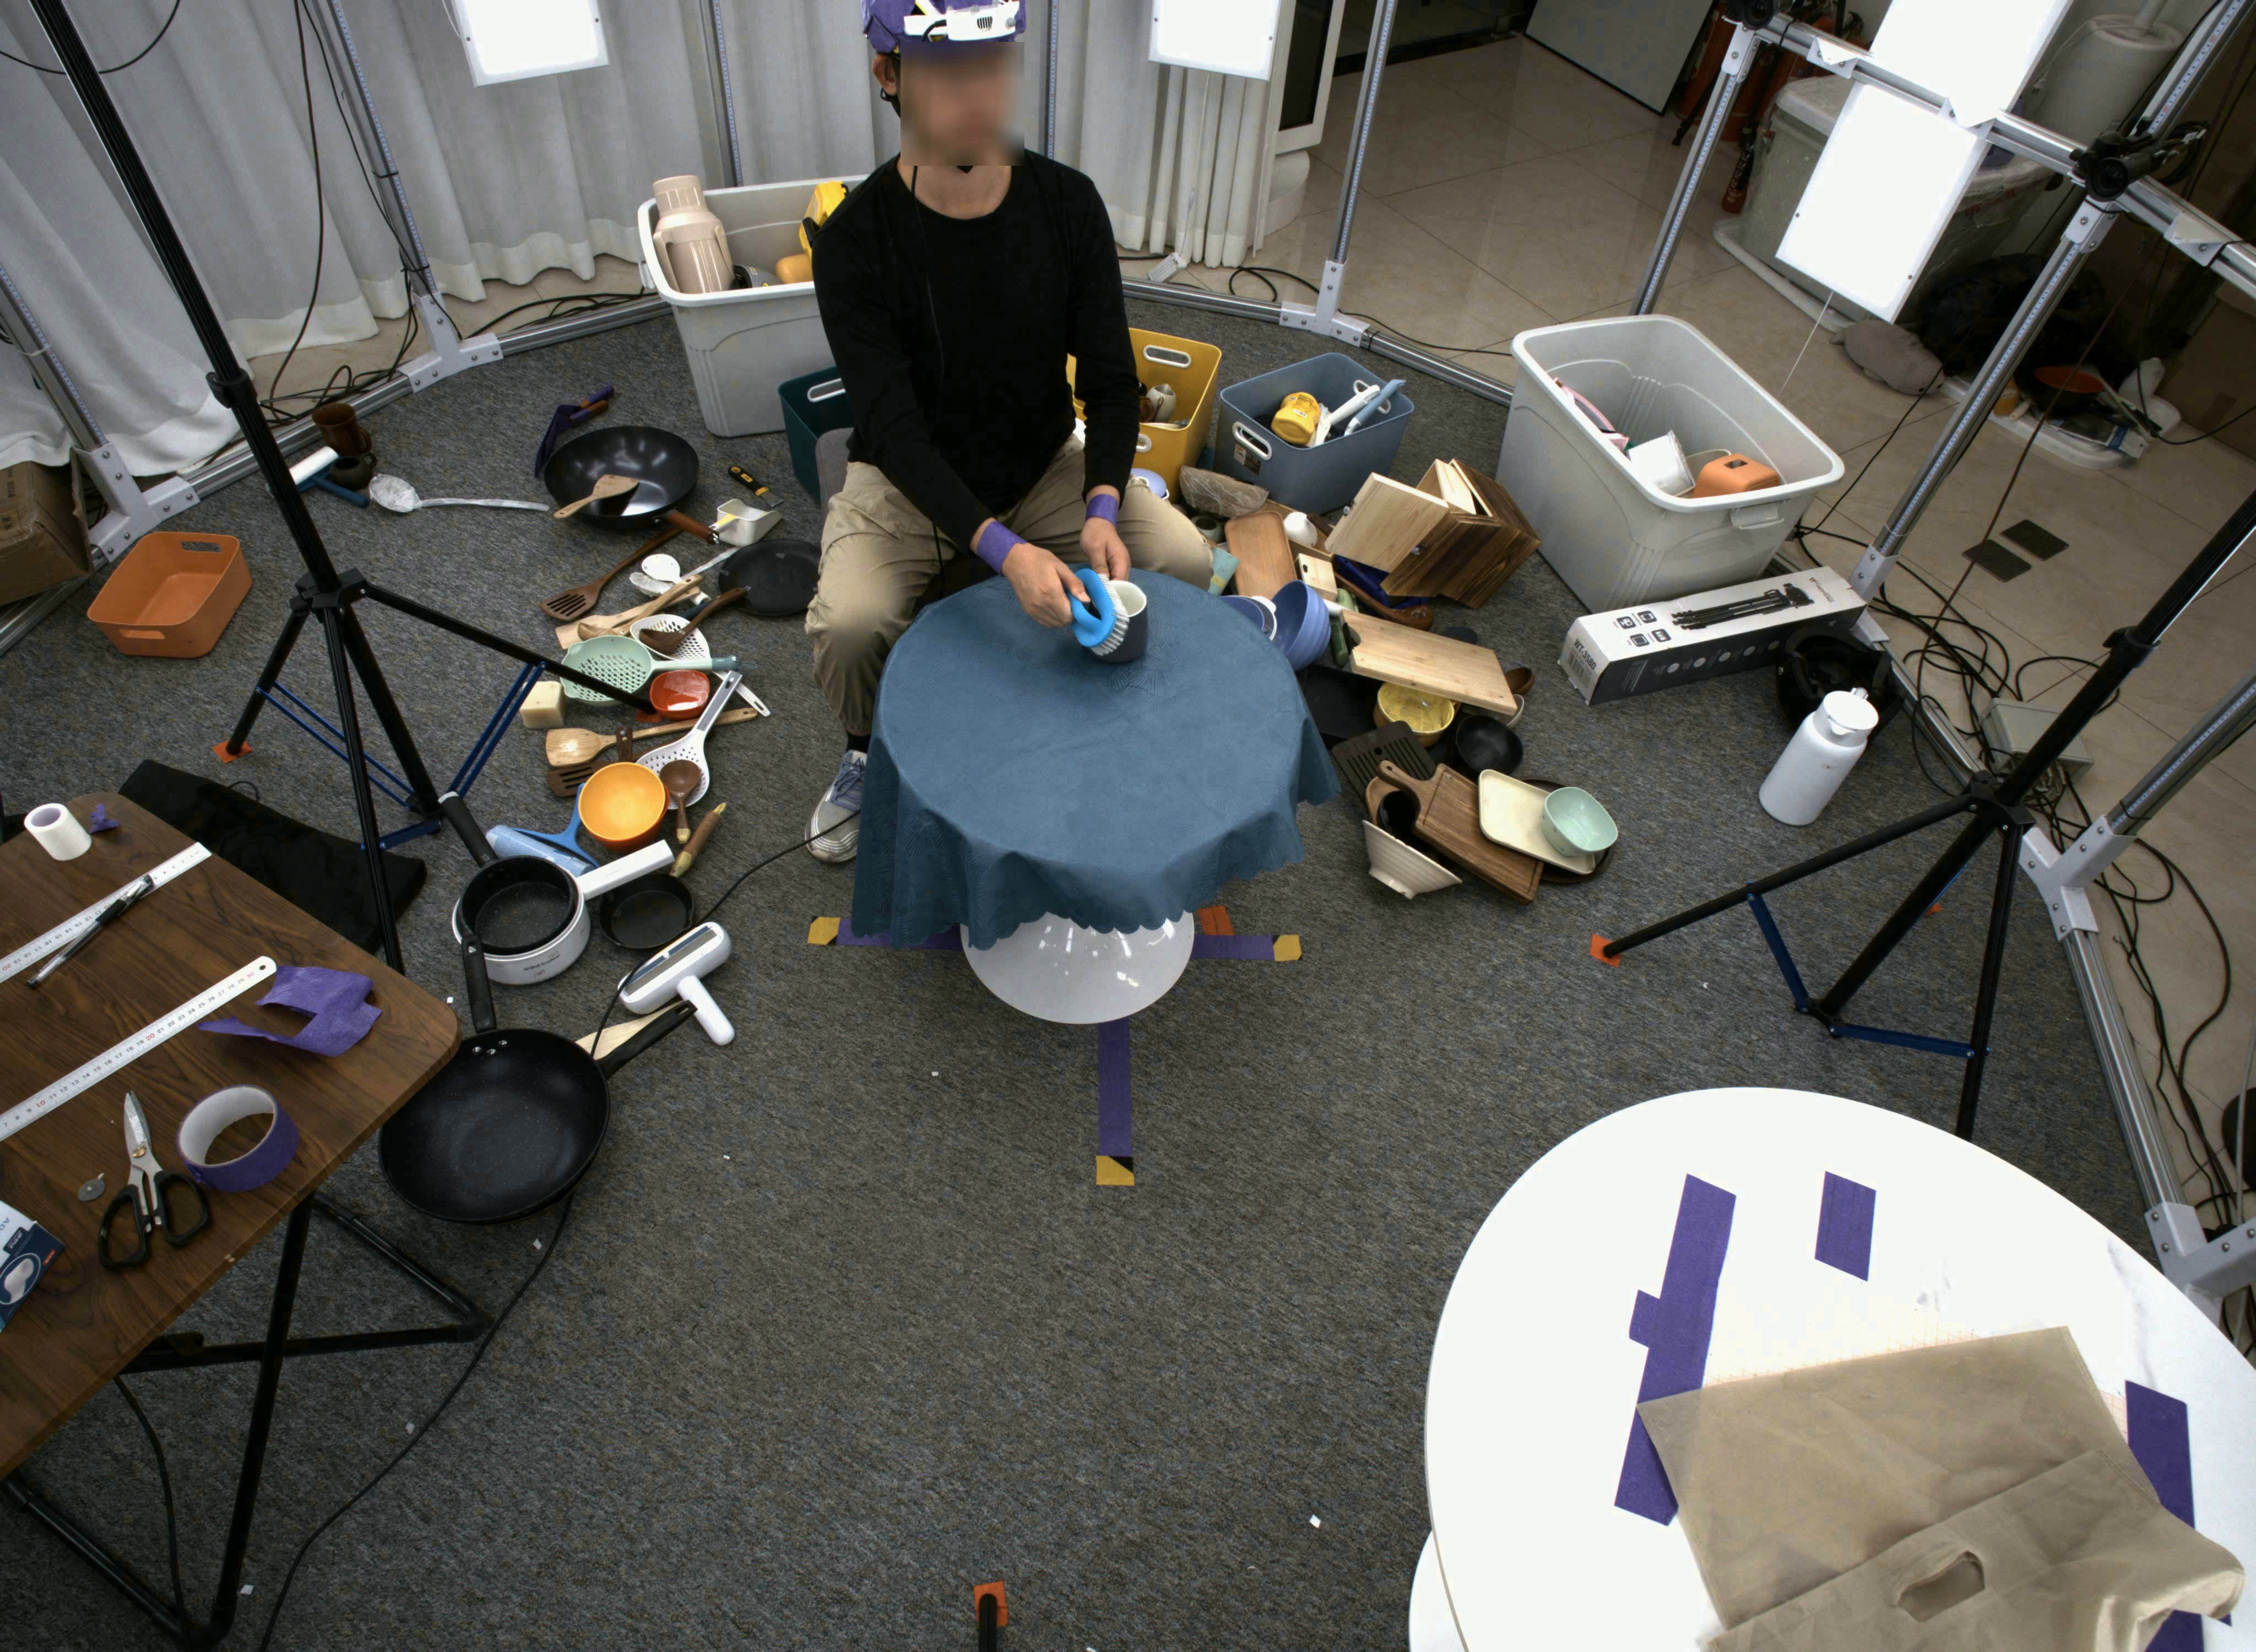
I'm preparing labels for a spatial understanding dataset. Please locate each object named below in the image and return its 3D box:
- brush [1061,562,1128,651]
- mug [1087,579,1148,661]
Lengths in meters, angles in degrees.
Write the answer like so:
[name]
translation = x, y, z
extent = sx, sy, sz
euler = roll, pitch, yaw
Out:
[brush]
translation = -0.057, -0.312, 1.811
extent = 0.063, 0.083, 0.145
euler = 17, 38, -41
[mug]
translation = -0.019, -0.308, 1.872
extent = 0.093, 0.088, 0.126
euler = -9, 52, -13
